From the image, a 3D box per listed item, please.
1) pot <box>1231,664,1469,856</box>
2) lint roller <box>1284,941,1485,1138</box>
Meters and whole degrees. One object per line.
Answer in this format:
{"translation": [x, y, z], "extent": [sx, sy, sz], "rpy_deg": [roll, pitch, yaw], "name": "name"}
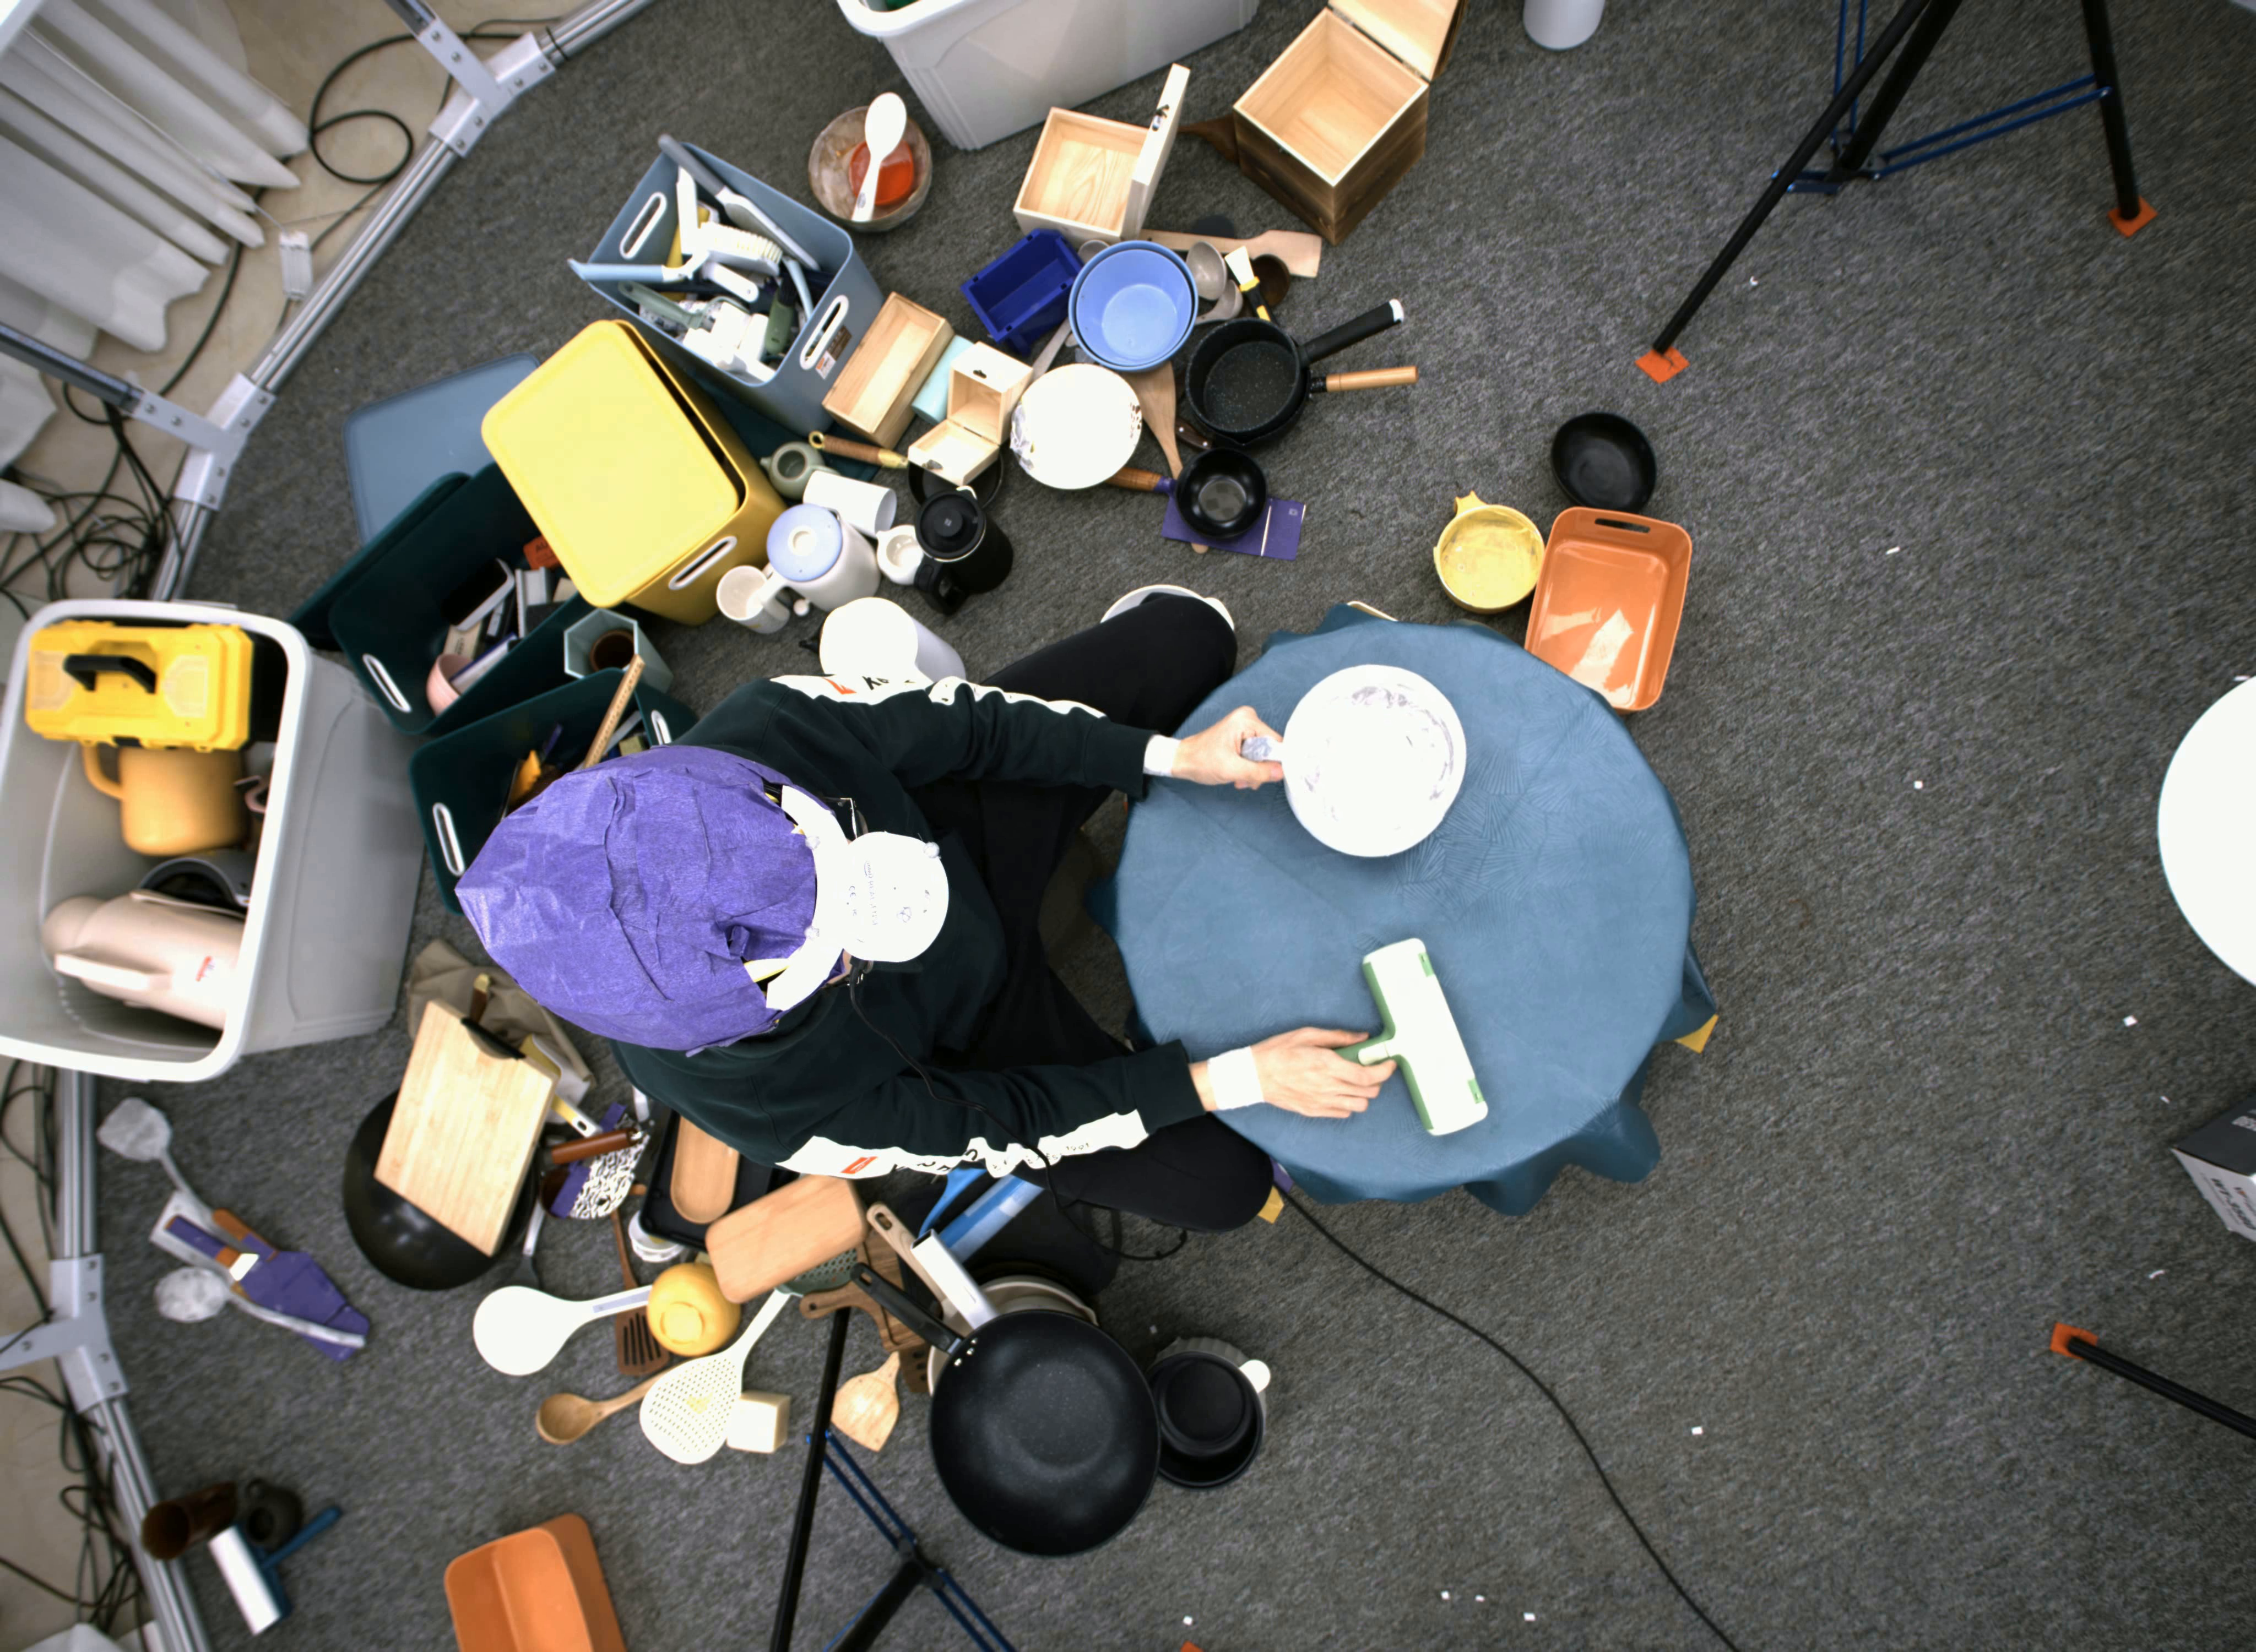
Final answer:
{"translation": [0.220, -0.064, 1.396], "extent": [0.234, 0.137, 0.177], "rpy_deg": [4, 83, 8], "name": "pot"}
{"translation": [0.246, 0.234, 1.412], "extent": [0.184, 0.082, 0.197], "rpy_deg": [-20, 84, 4], "name": "lint roller"}
